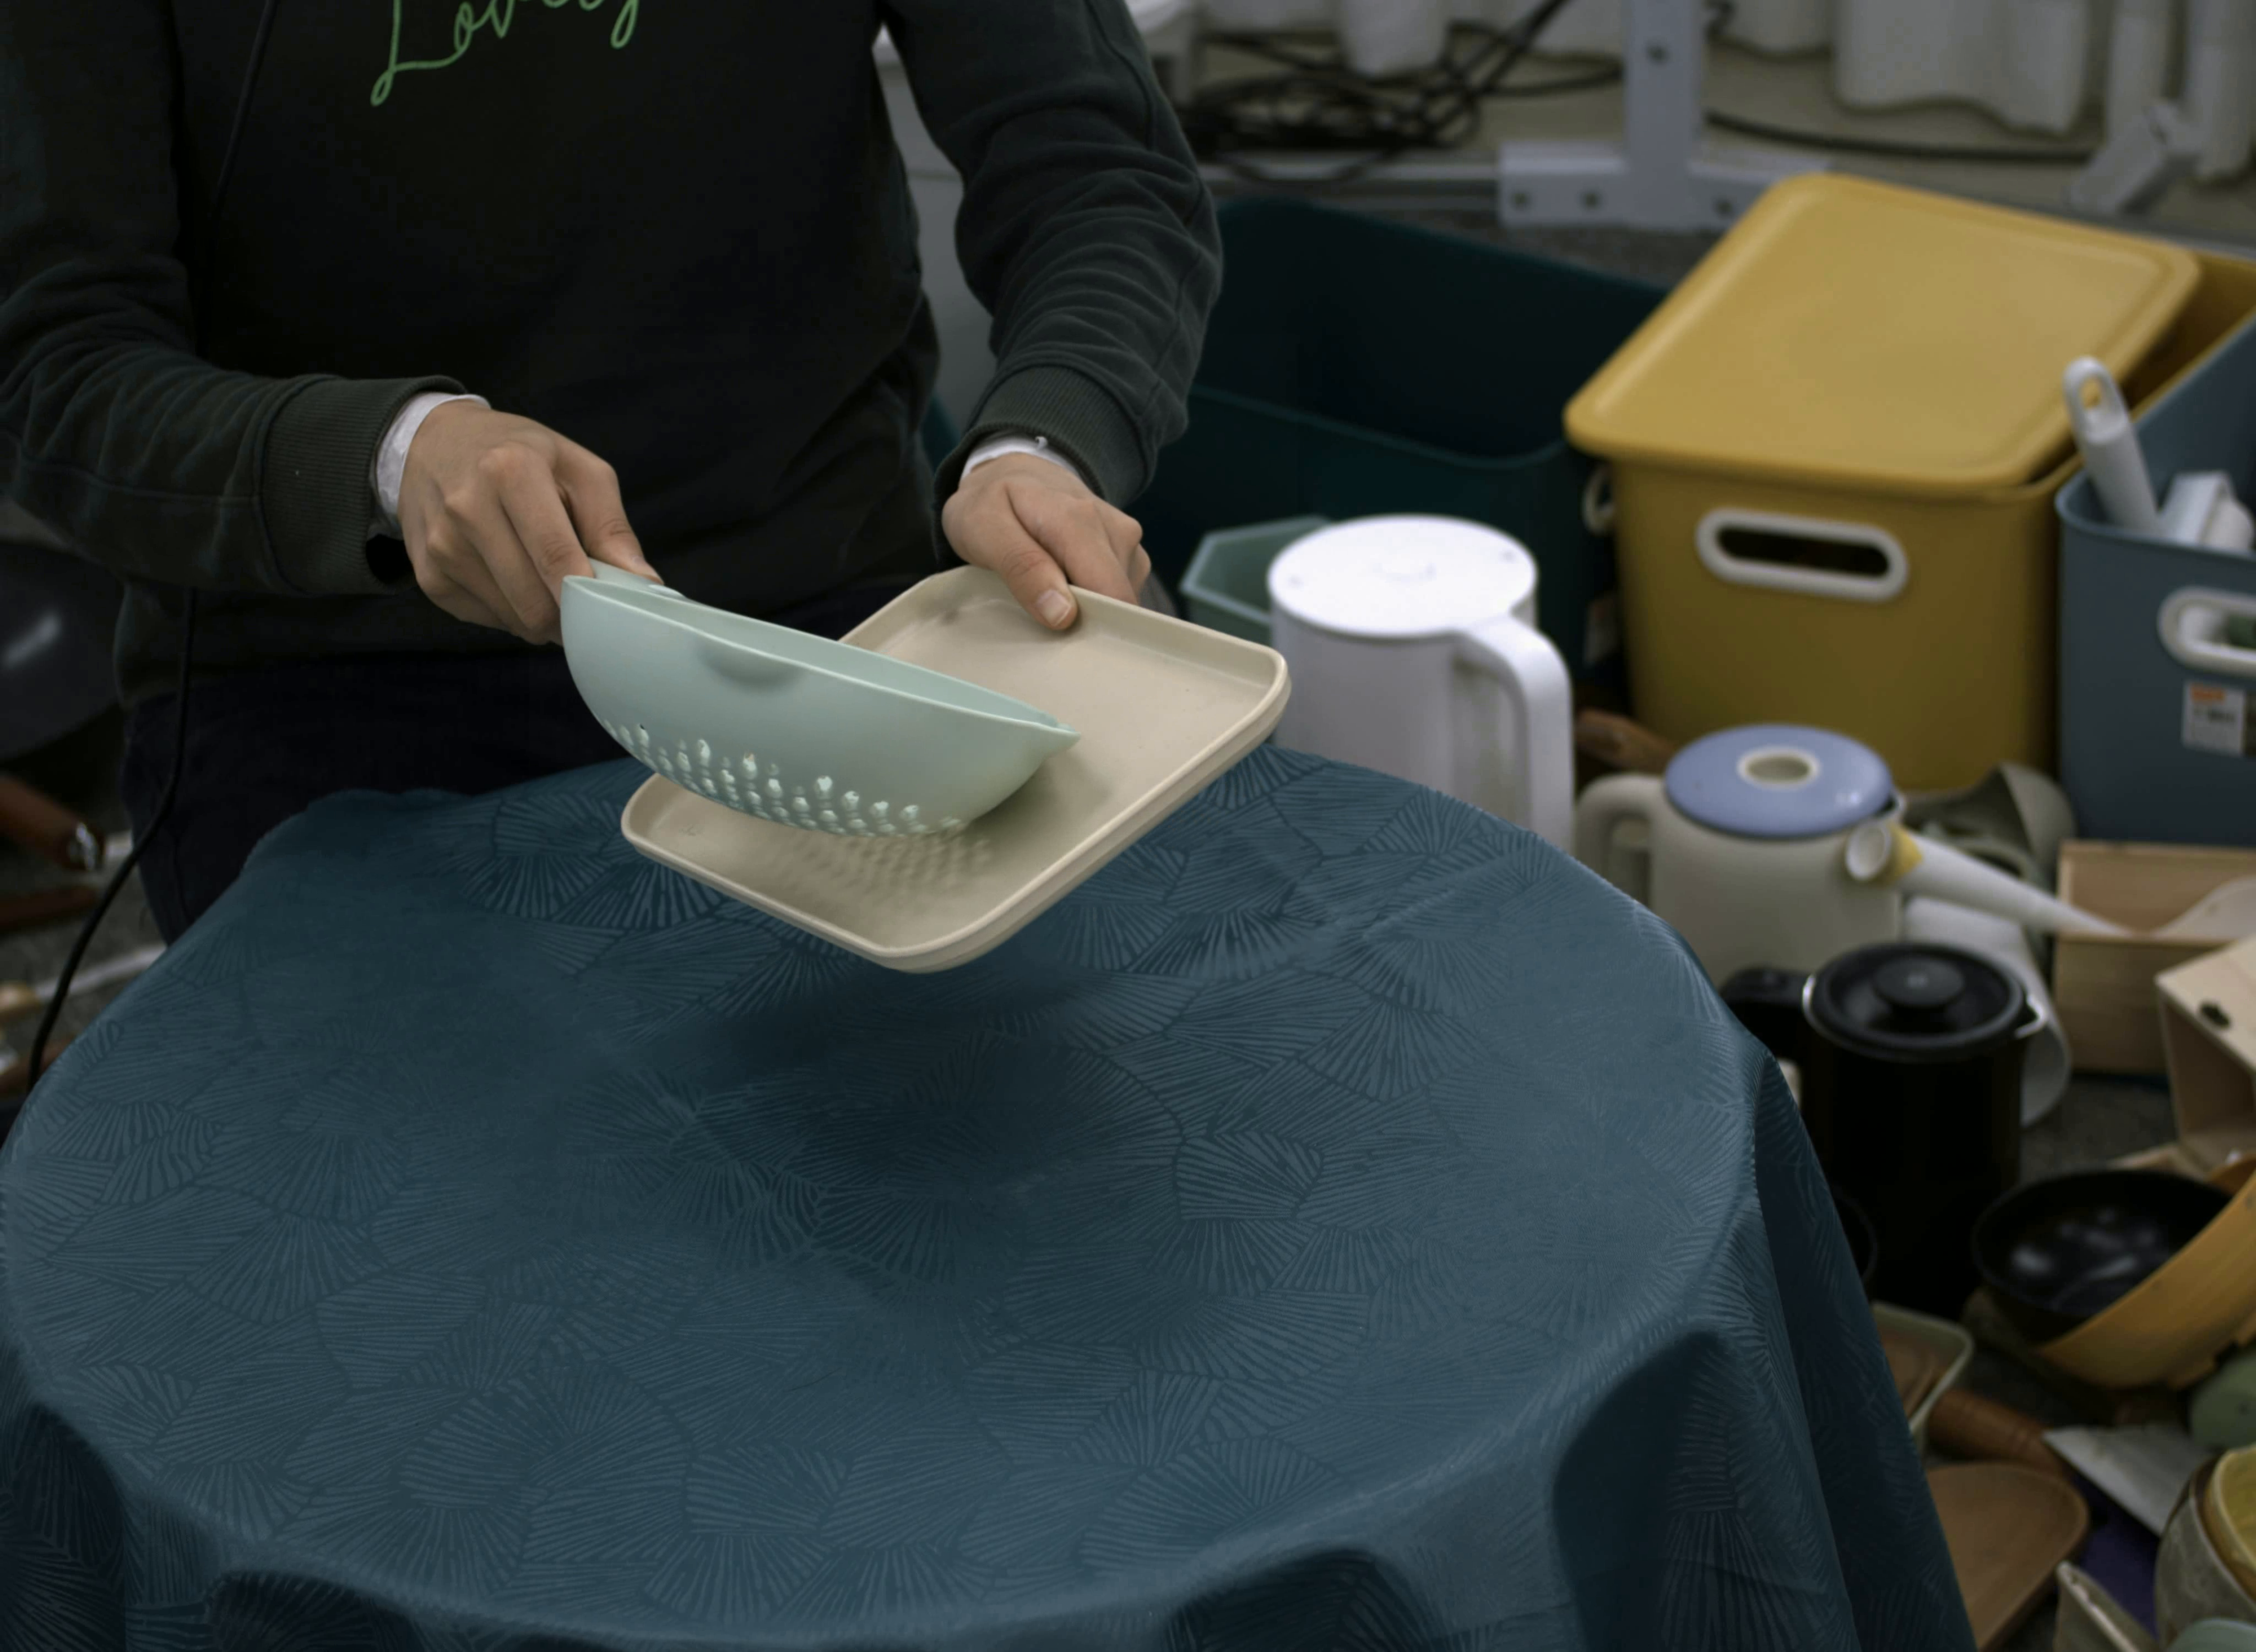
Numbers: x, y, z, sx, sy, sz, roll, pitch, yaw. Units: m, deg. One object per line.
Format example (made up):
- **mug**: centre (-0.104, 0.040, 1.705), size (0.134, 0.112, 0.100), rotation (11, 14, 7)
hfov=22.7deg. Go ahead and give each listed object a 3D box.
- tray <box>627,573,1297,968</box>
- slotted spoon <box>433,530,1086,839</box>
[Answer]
- **tray**: centre (-0.057, -0.020, 1.870), size (0.173, 0.017, 0.239), rotation (-37, 26, -20)
- **slotted spoon**: centre (-0.155, -0.064, 1.906), size (0.169, 0.075, 0.360), rotation (16, 11, -33)
